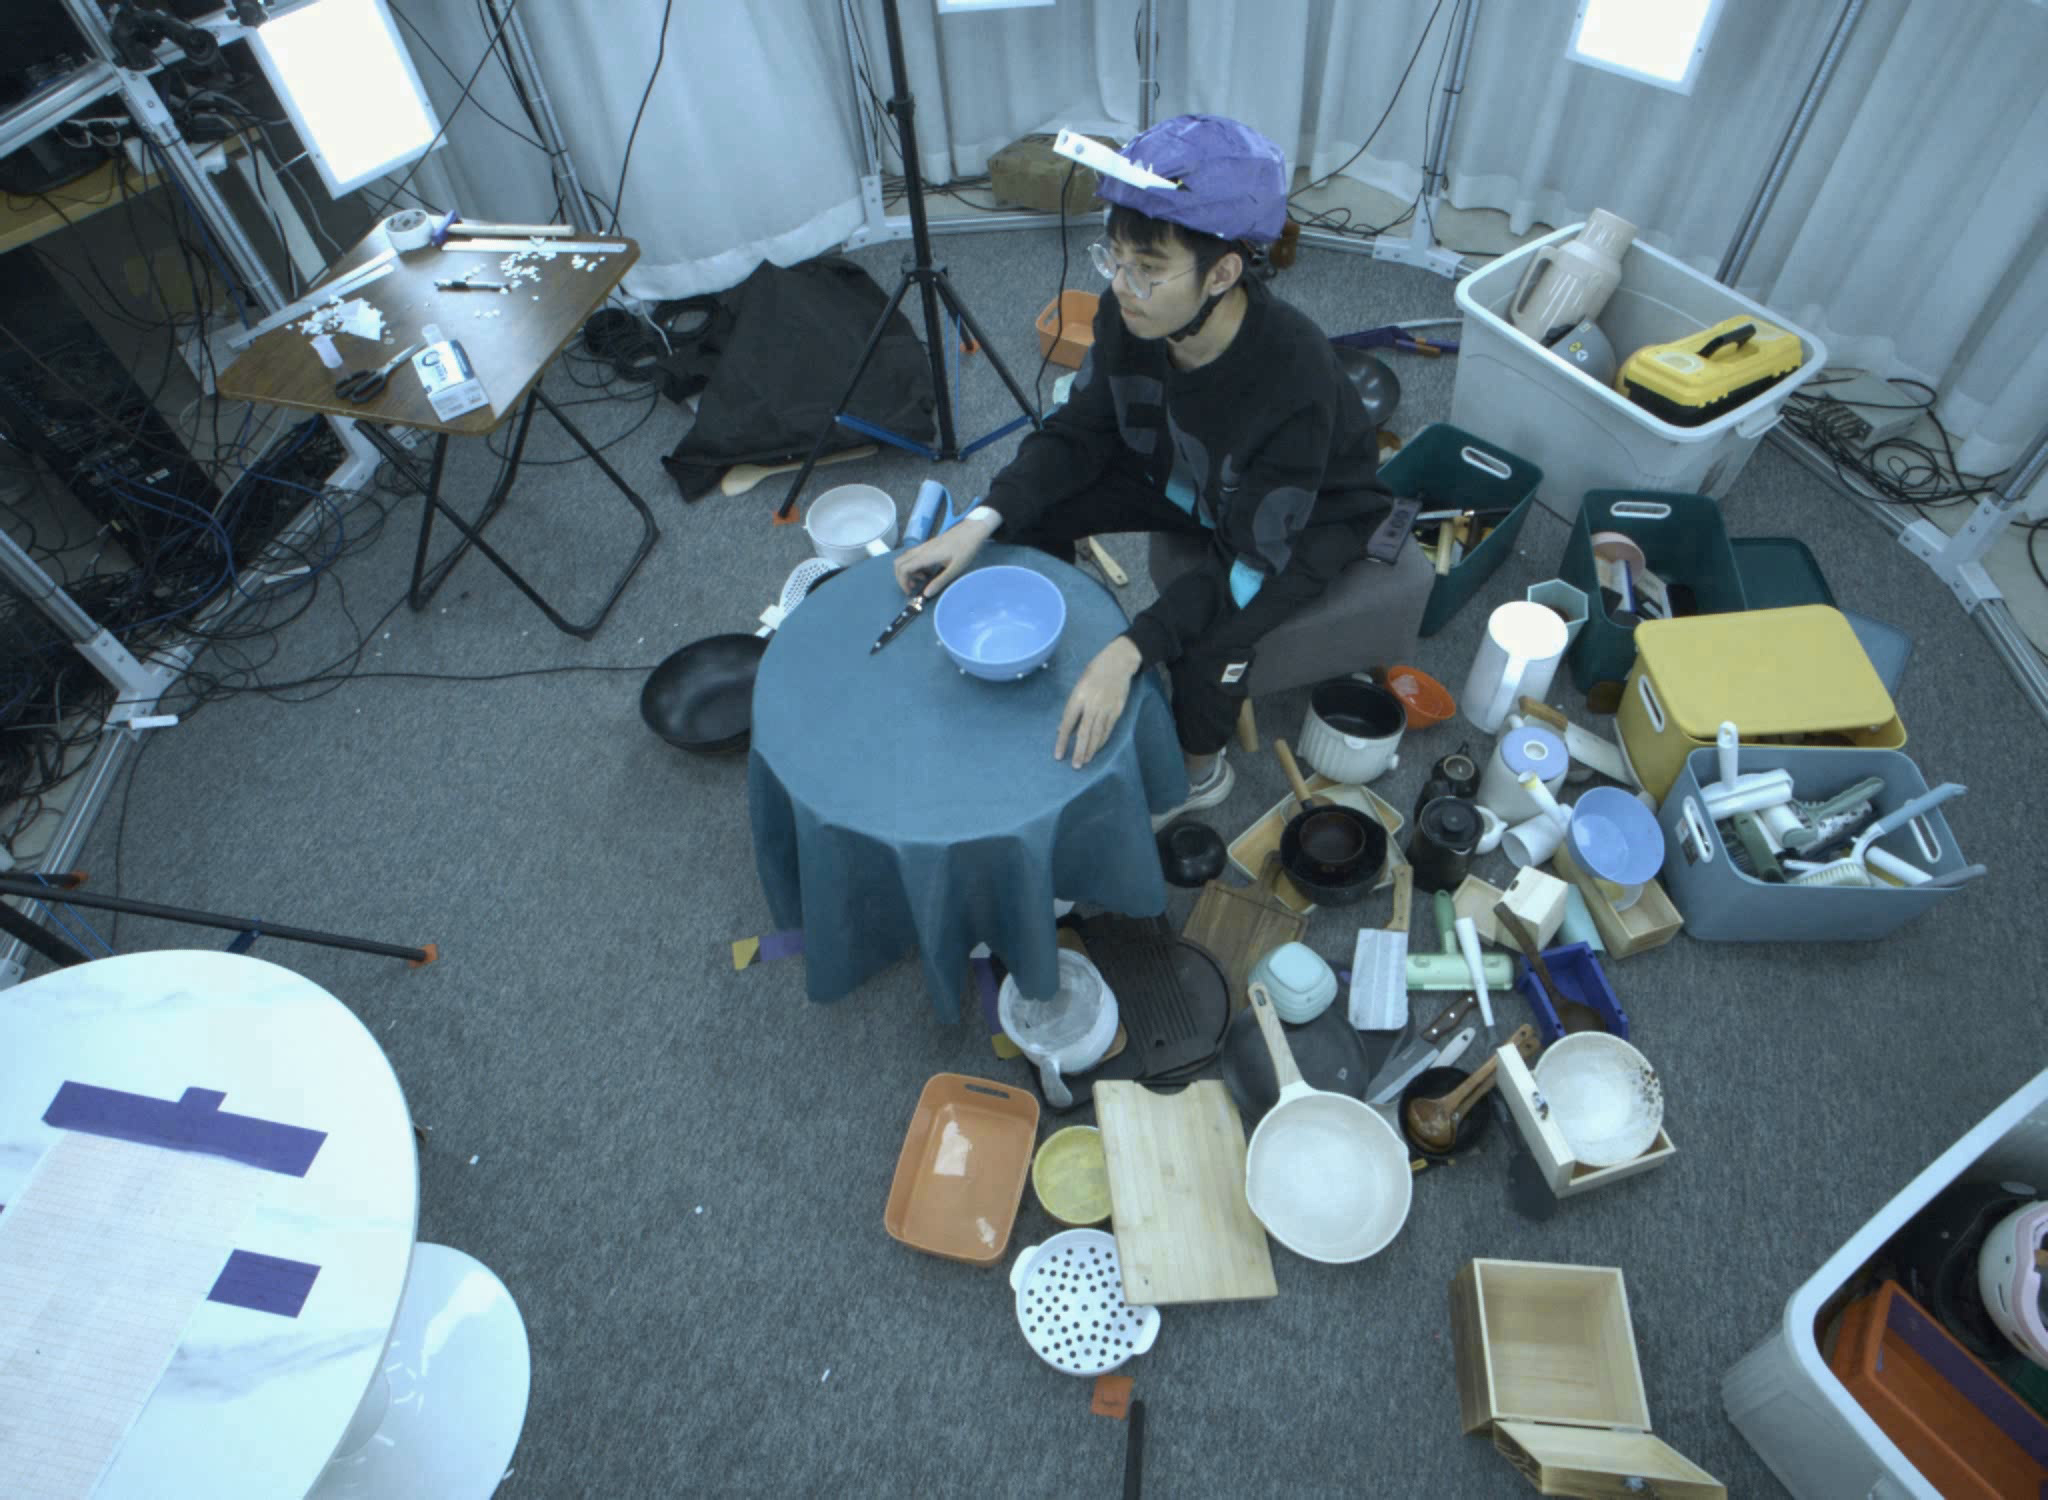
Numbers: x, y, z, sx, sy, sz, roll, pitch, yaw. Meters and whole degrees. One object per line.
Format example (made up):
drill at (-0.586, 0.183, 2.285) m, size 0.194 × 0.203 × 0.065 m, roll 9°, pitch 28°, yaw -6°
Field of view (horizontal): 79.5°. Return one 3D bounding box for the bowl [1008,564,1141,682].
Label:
bowl at (0.078, -0.175, 1.846) m, size 0.196 × 0.096 × 0.194 m, roll -2°, pitch 57°, yaw 4°

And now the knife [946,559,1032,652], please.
knife at (-0.058, -0.231, 1.945) m, size 0.026 × 0.017 × 0.226 m, roll 31°, pitch 62°, yaw 20°
